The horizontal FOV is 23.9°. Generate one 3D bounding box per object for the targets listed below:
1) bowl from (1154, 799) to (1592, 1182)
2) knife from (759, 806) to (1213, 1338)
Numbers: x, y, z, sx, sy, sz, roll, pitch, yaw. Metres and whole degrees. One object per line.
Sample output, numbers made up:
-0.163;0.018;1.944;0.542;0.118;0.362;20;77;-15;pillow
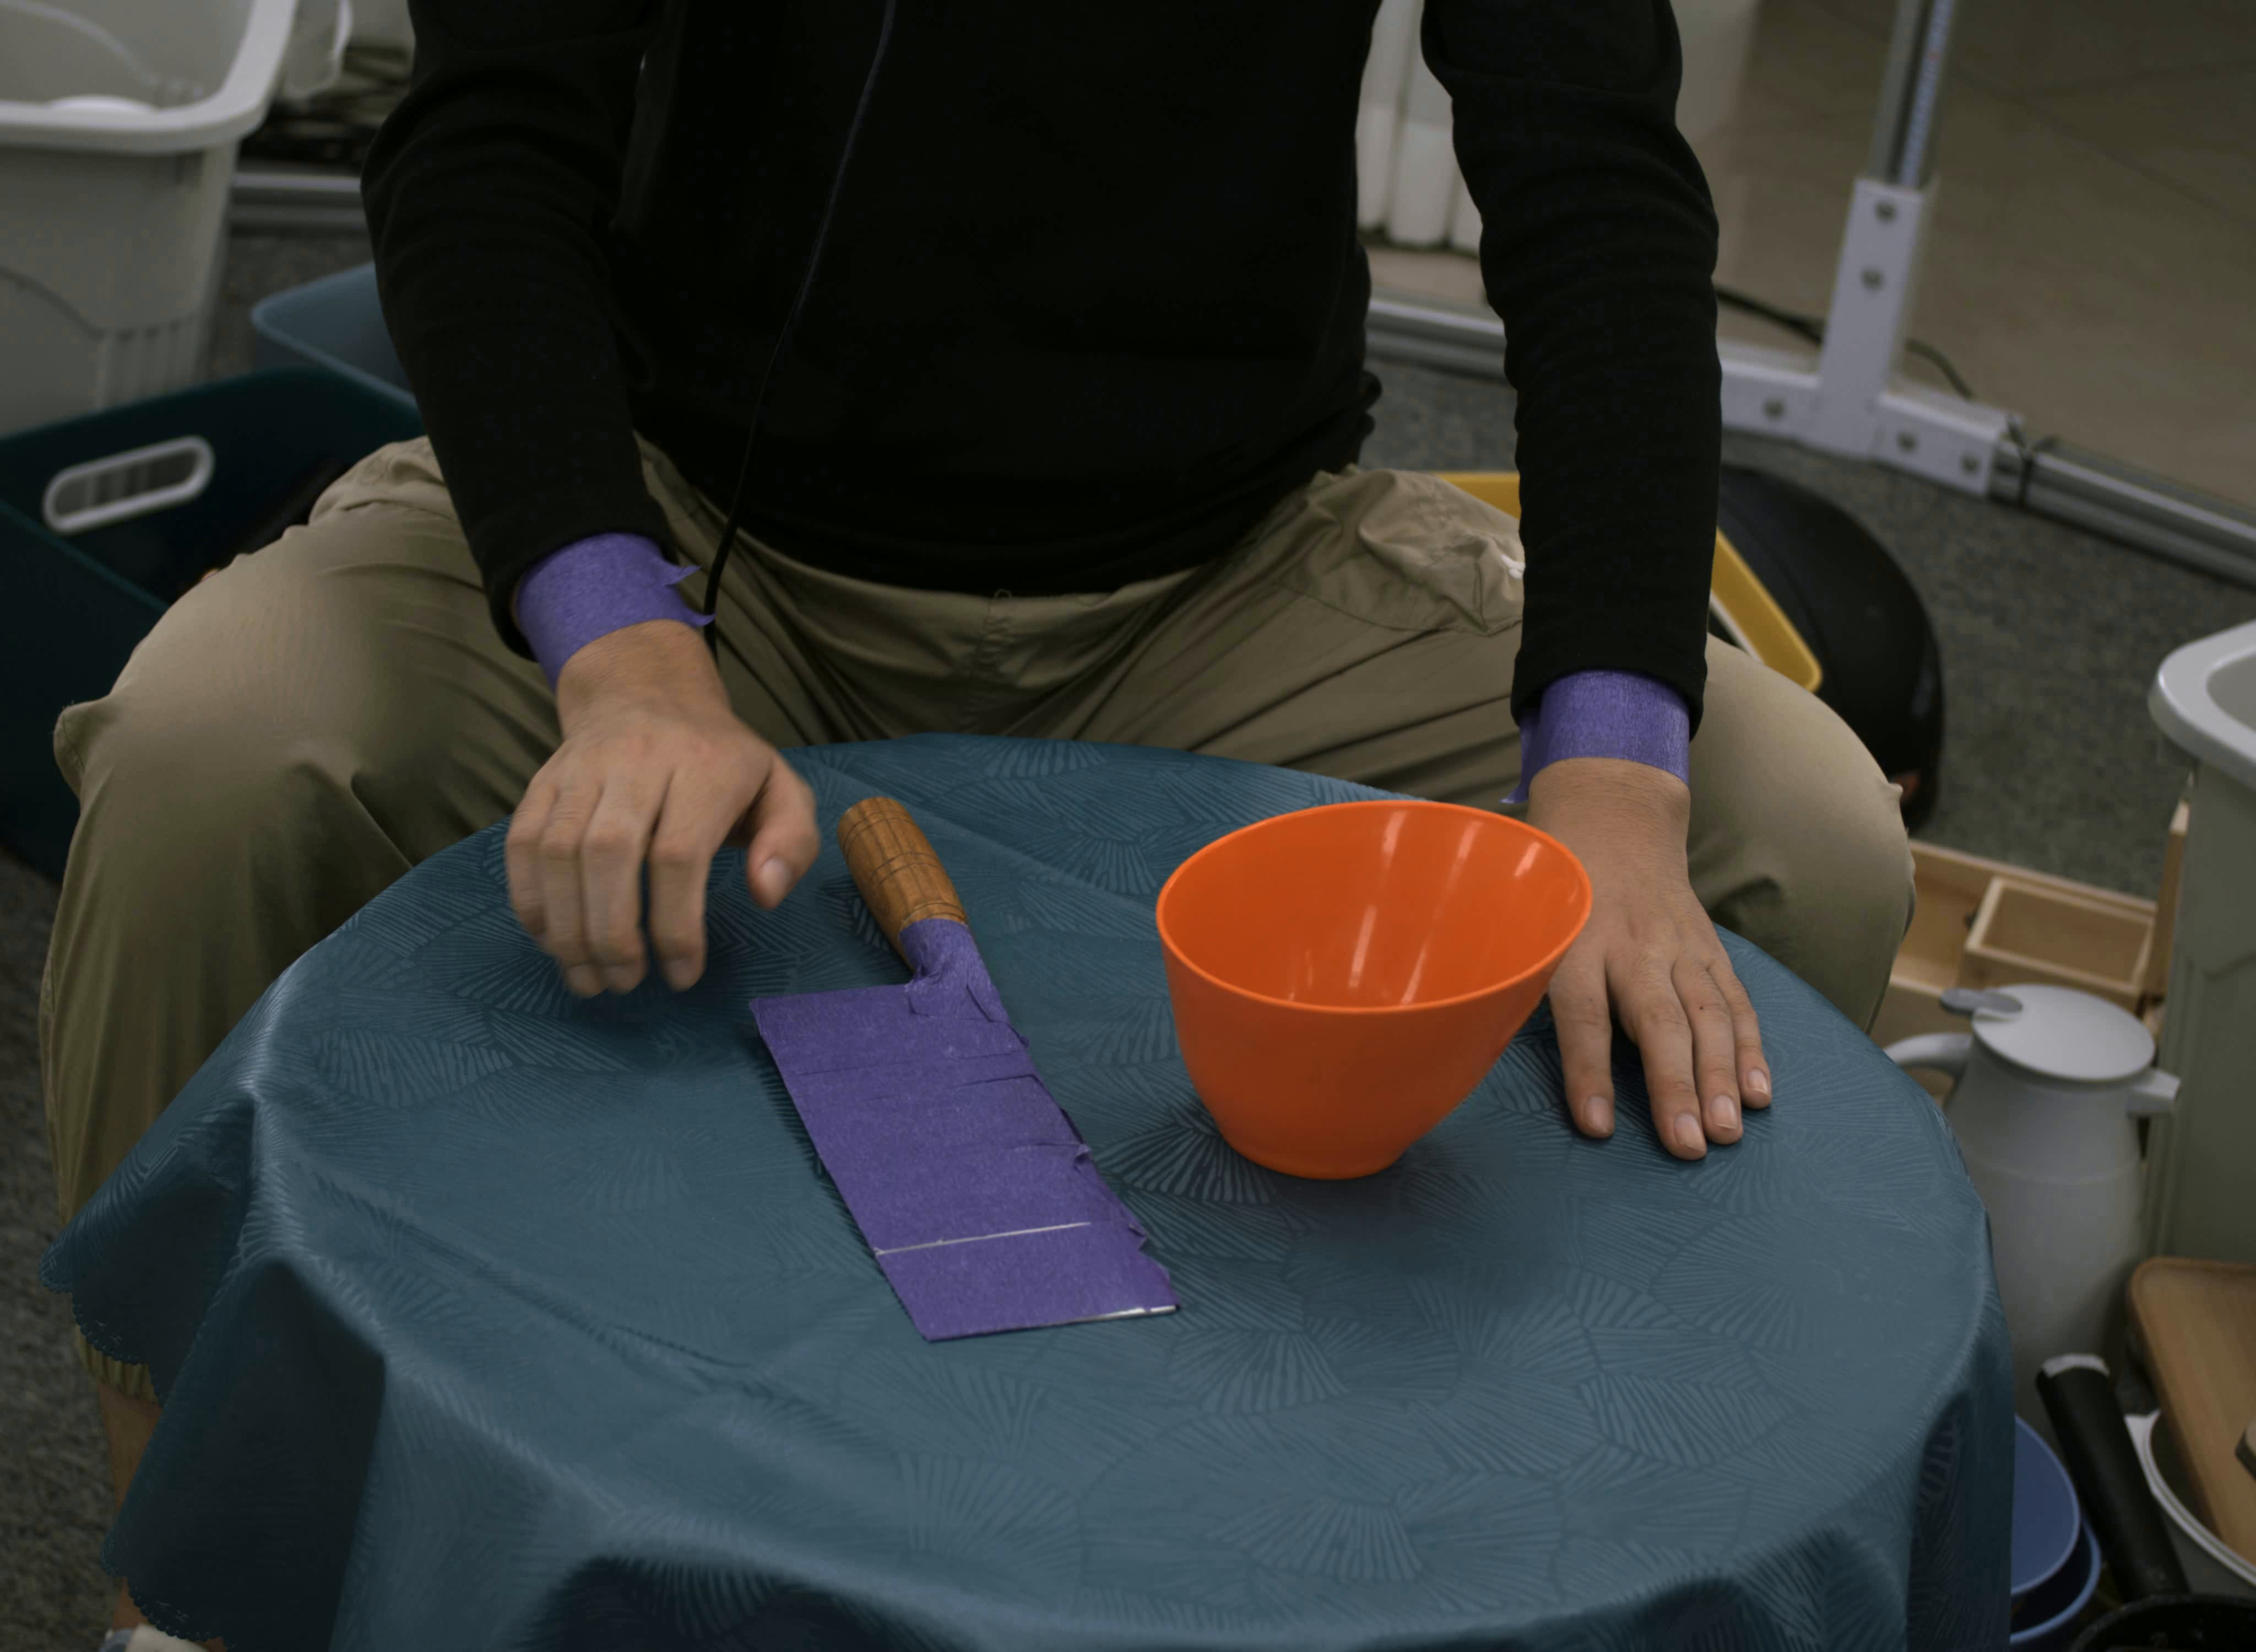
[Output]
0.079;0.063;1.831;0.147;0.104;0.149;5;28;-3;bowl
-0.072;0.080;1.845;0.103;0.032;0.318;-4;29;-21;knife
